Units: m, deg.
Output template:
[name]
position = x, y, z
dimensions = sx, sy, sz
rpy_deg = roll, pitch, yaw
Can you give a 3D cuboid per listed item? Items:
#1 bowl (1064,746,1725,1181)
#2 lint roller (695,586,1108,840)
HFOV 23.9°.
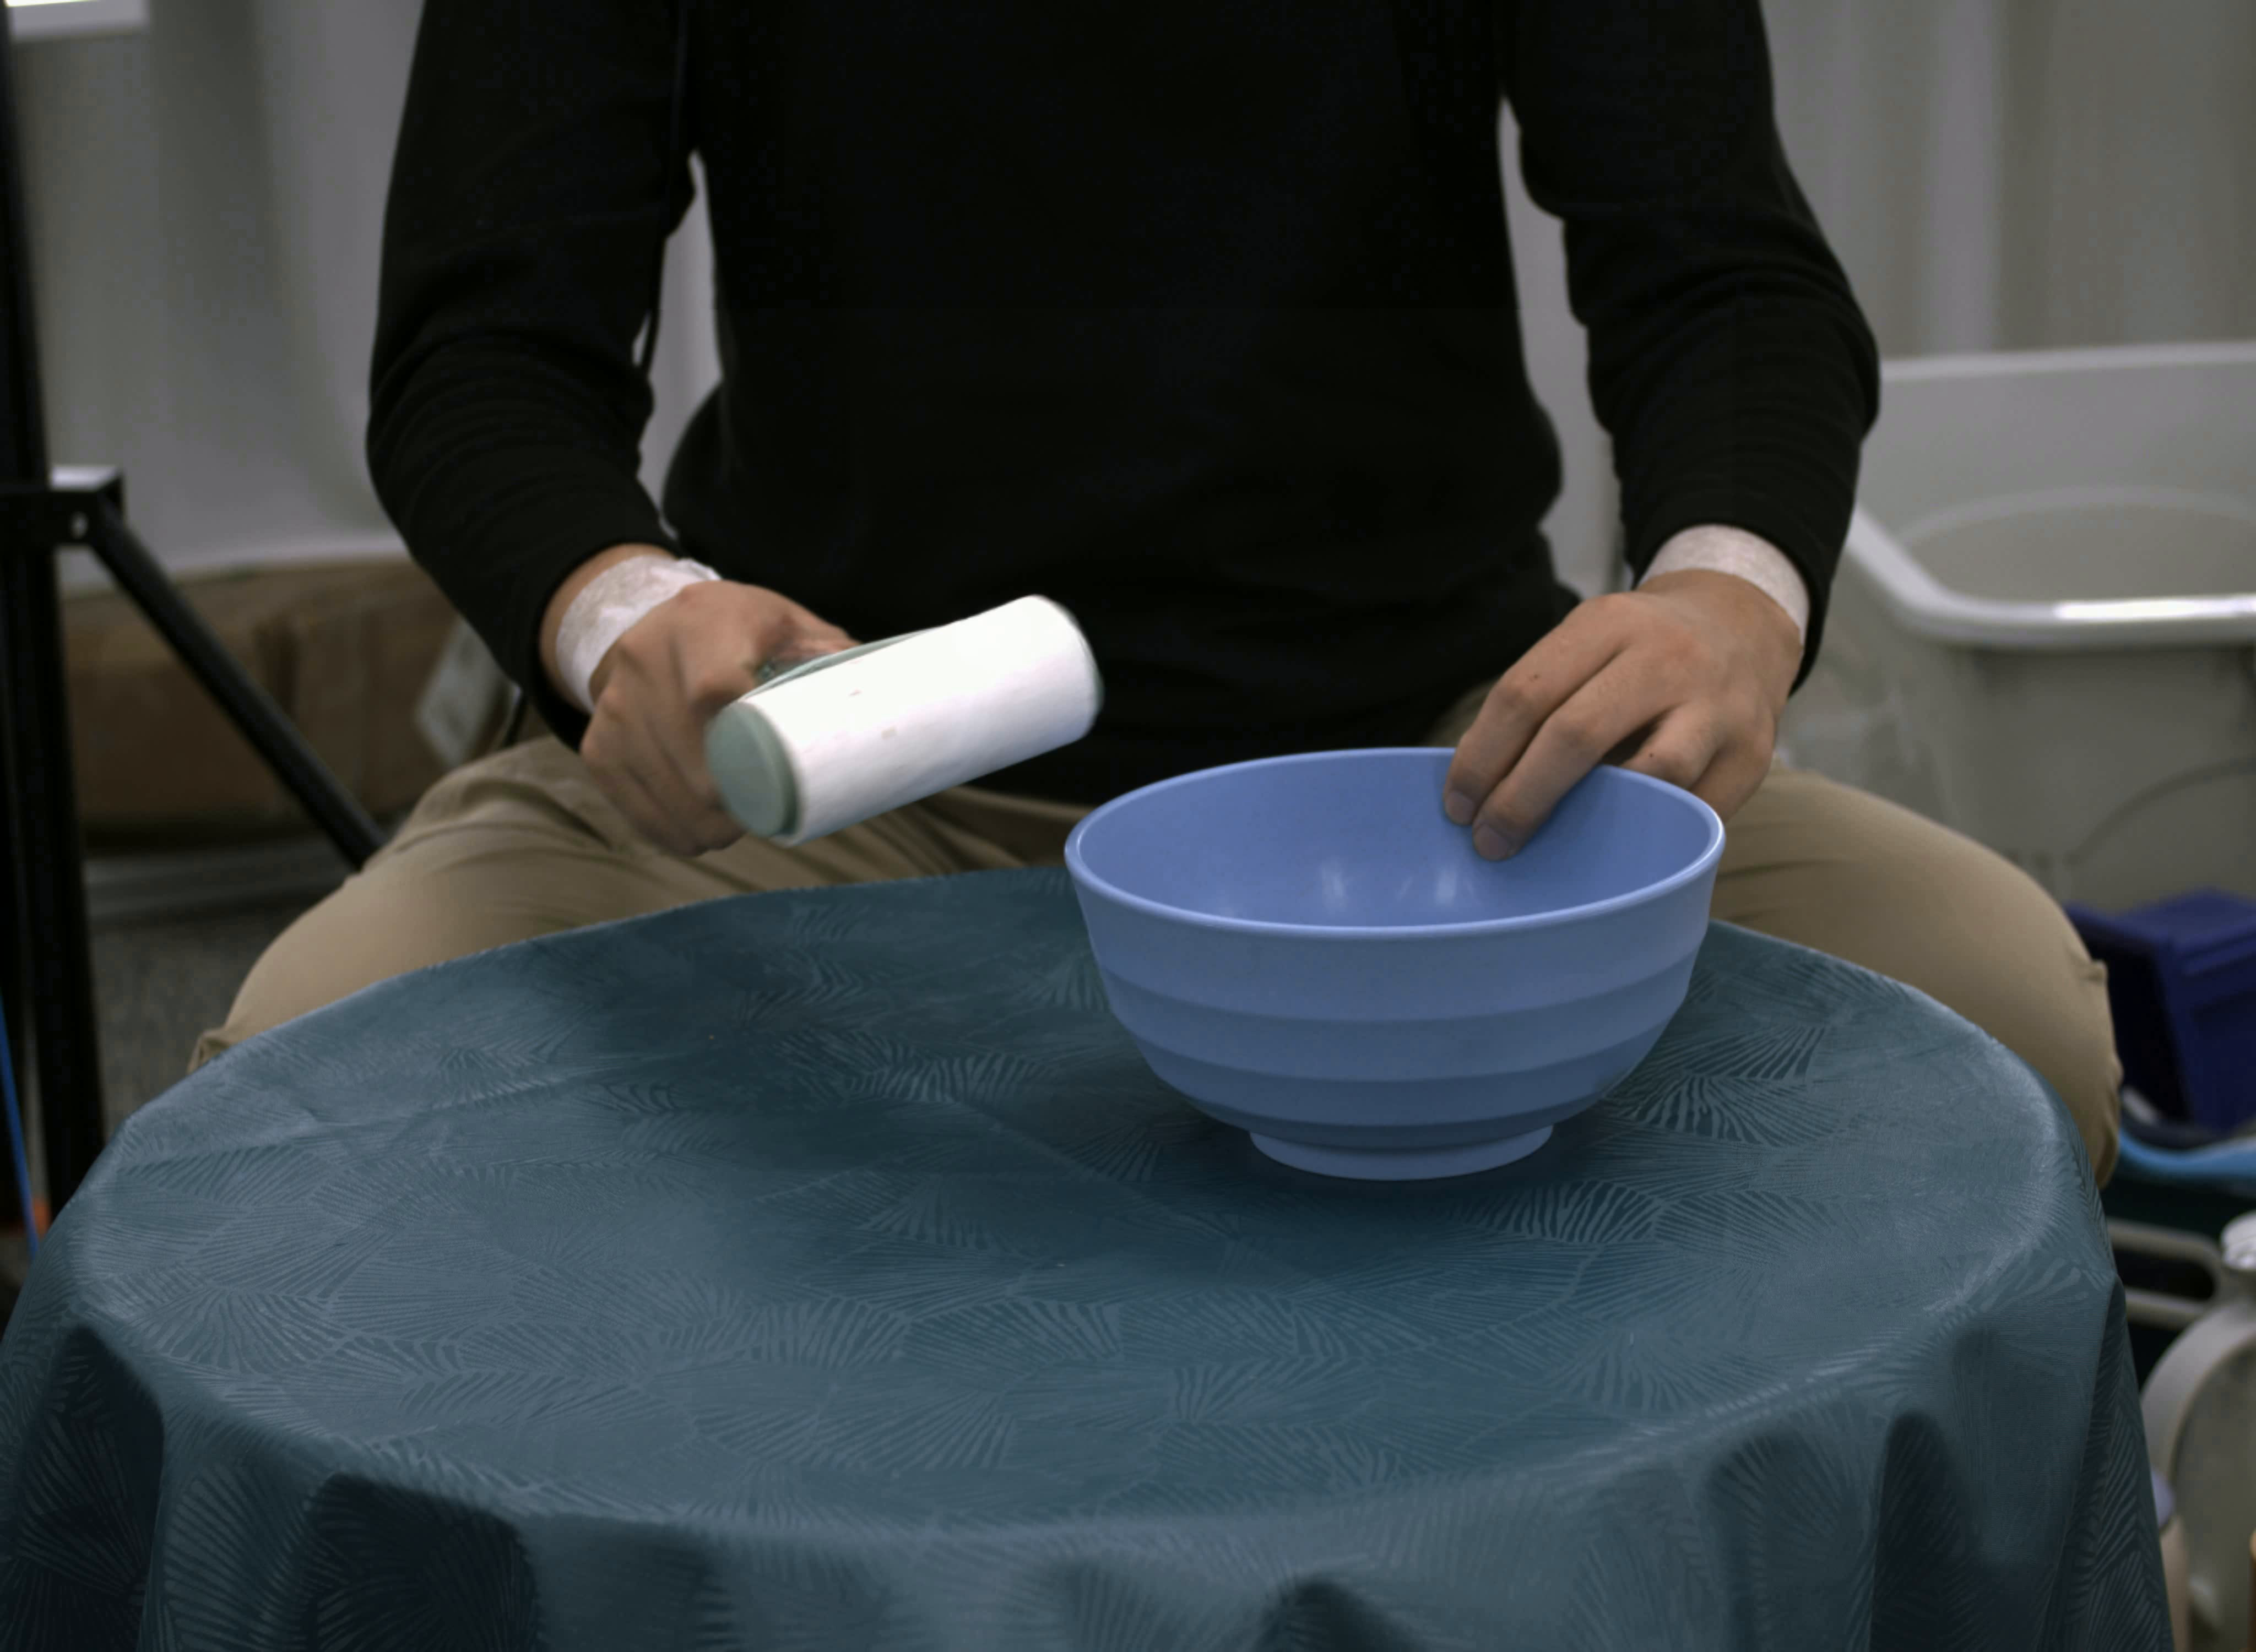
[bowl]
position = 0.081, 0.047, 1.585
dimensions = 0.195, 0.095, 0.197
rpy_deg = -4, 16, 0
[lint roller]
position = -0.093, -0.032, 1.657
dimensions = 0.115, 0.048, 0.201
rpy_deg = -23, 8, -23
